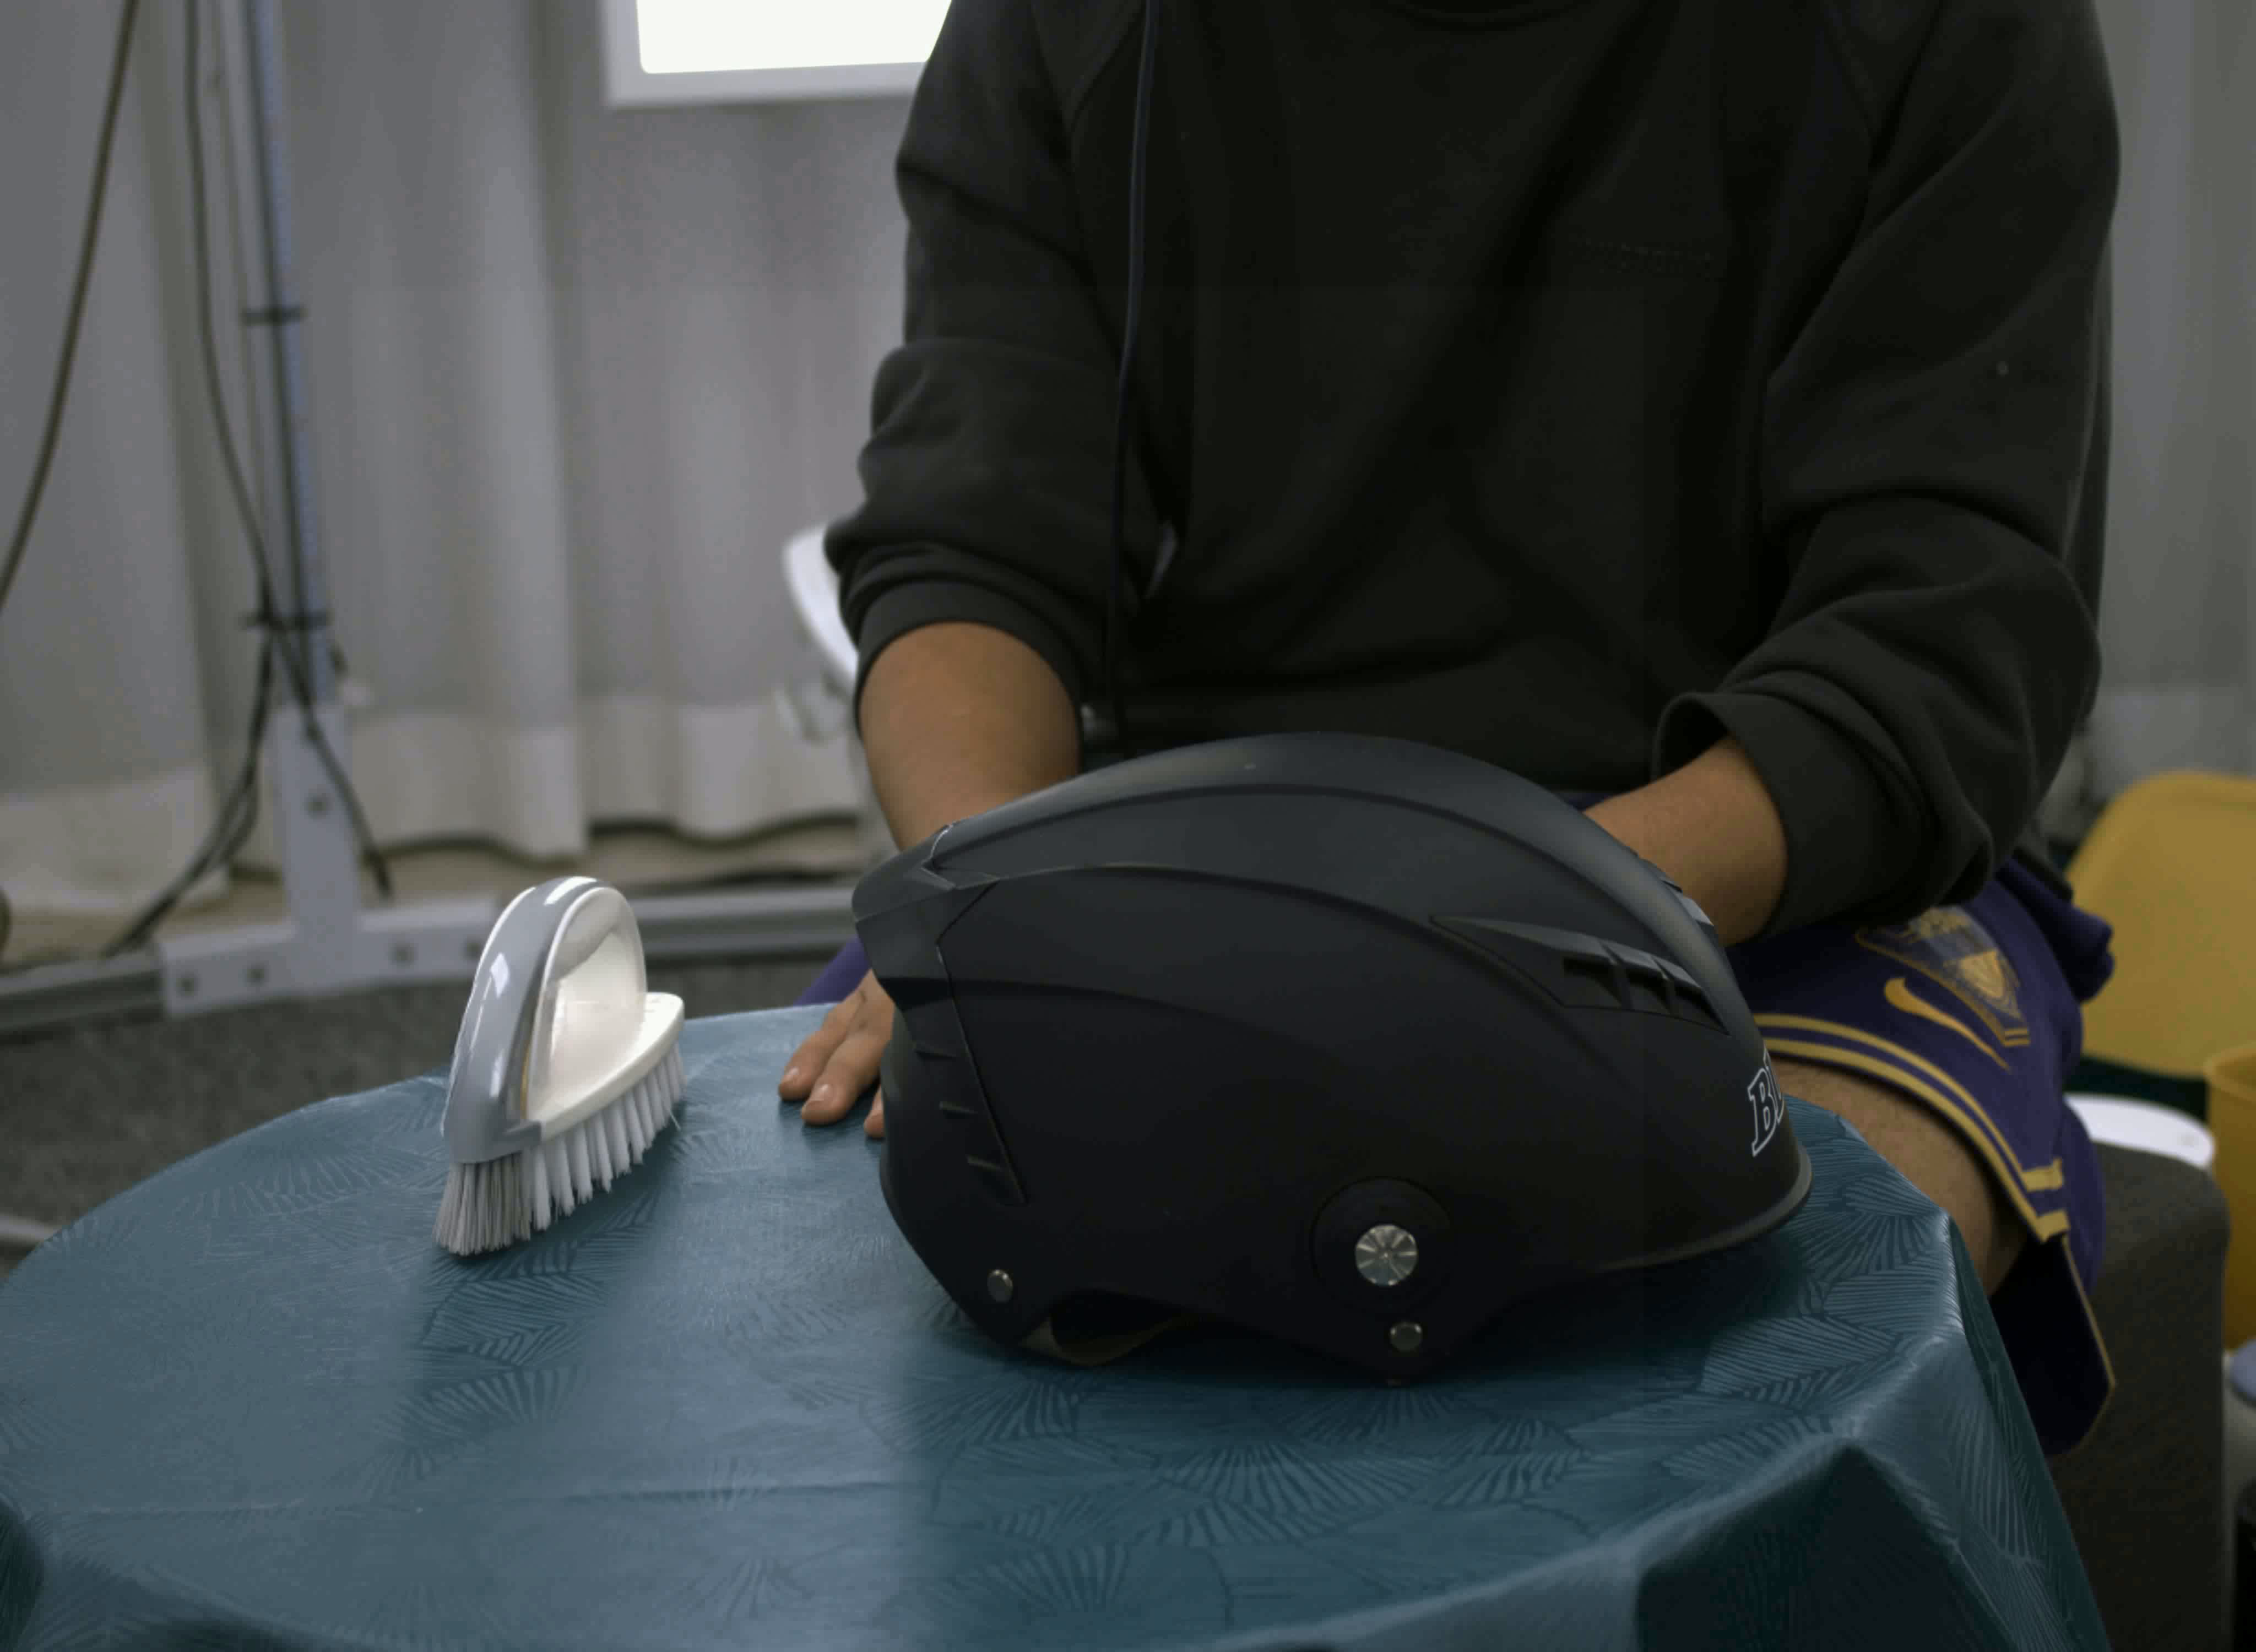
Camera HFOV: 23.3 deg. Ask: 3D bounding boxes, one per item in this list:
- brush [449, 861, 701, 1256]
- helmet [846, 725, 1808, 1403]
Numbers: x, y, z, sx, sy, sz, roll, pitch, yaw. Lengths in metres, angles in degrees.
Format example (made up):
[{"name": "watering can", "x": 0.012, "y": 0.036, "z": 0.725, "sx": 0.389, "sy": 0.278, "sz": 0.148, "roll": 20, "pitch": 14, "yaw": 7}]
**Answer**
[{"name": "brush", "x": -0.186, "y": 0.069, "z": 1.751, "sx": 0.061, "sy": 0.094, "sz": 0.176, "roll": -1, "pitch": 17, "yaw": 12}, {"name": "helmet", "x": 0.057, "y": 0.056, "z": 1.620, "sx": 0.276, "sy": 0.172, "sz": 0.248, "roll": -4, "pitch": 15, "yaw": 13}]
